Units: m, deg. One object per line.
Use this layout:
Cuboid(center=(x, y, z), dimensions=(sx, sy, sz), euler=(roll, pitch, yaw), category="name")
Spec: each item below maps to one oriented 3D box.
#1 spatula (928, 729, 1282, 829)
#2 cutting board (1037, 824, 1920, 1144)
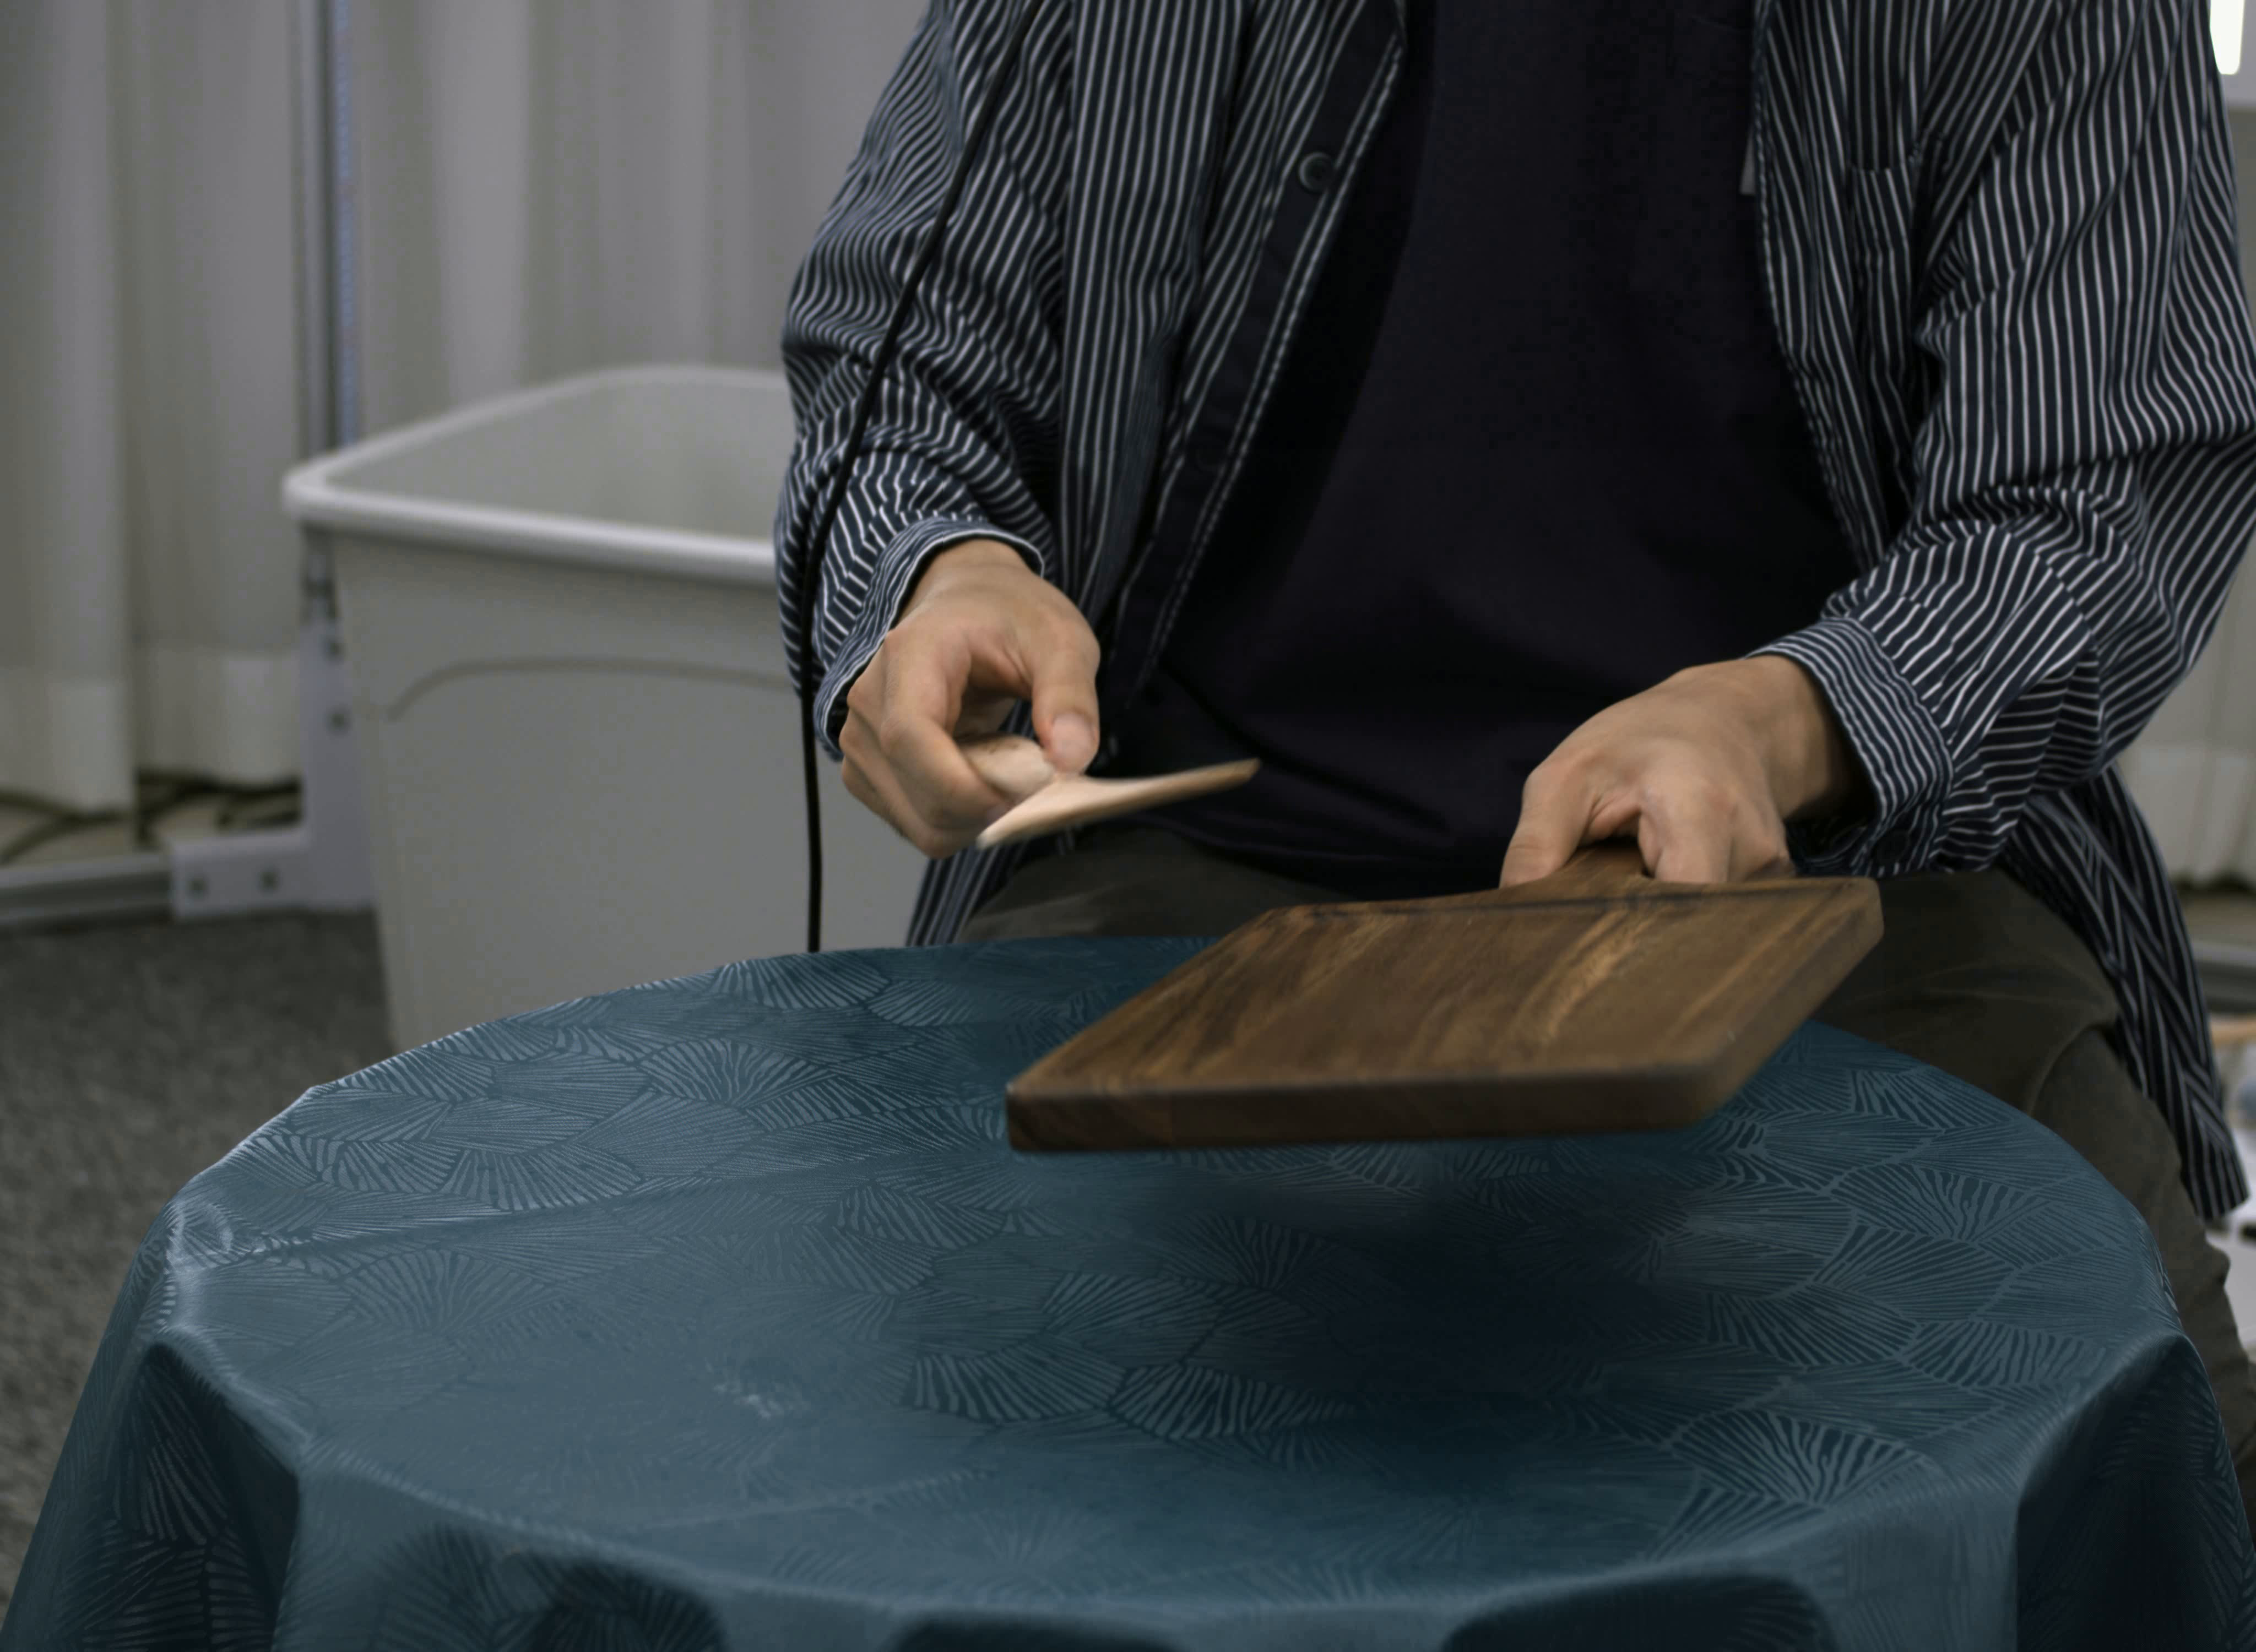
Cuboid(center=(-0.023, -0.020, 1.634), dimensions=(0.080, 0.016, 0.325), euler=(-14, 7, -11), category="spatula")
Cuboid(center=(0.122, 0.041, 1.543), dimensions=(0.199, 0.023, 0.353), euler=(-3, 9, 20), category="cutting board")
